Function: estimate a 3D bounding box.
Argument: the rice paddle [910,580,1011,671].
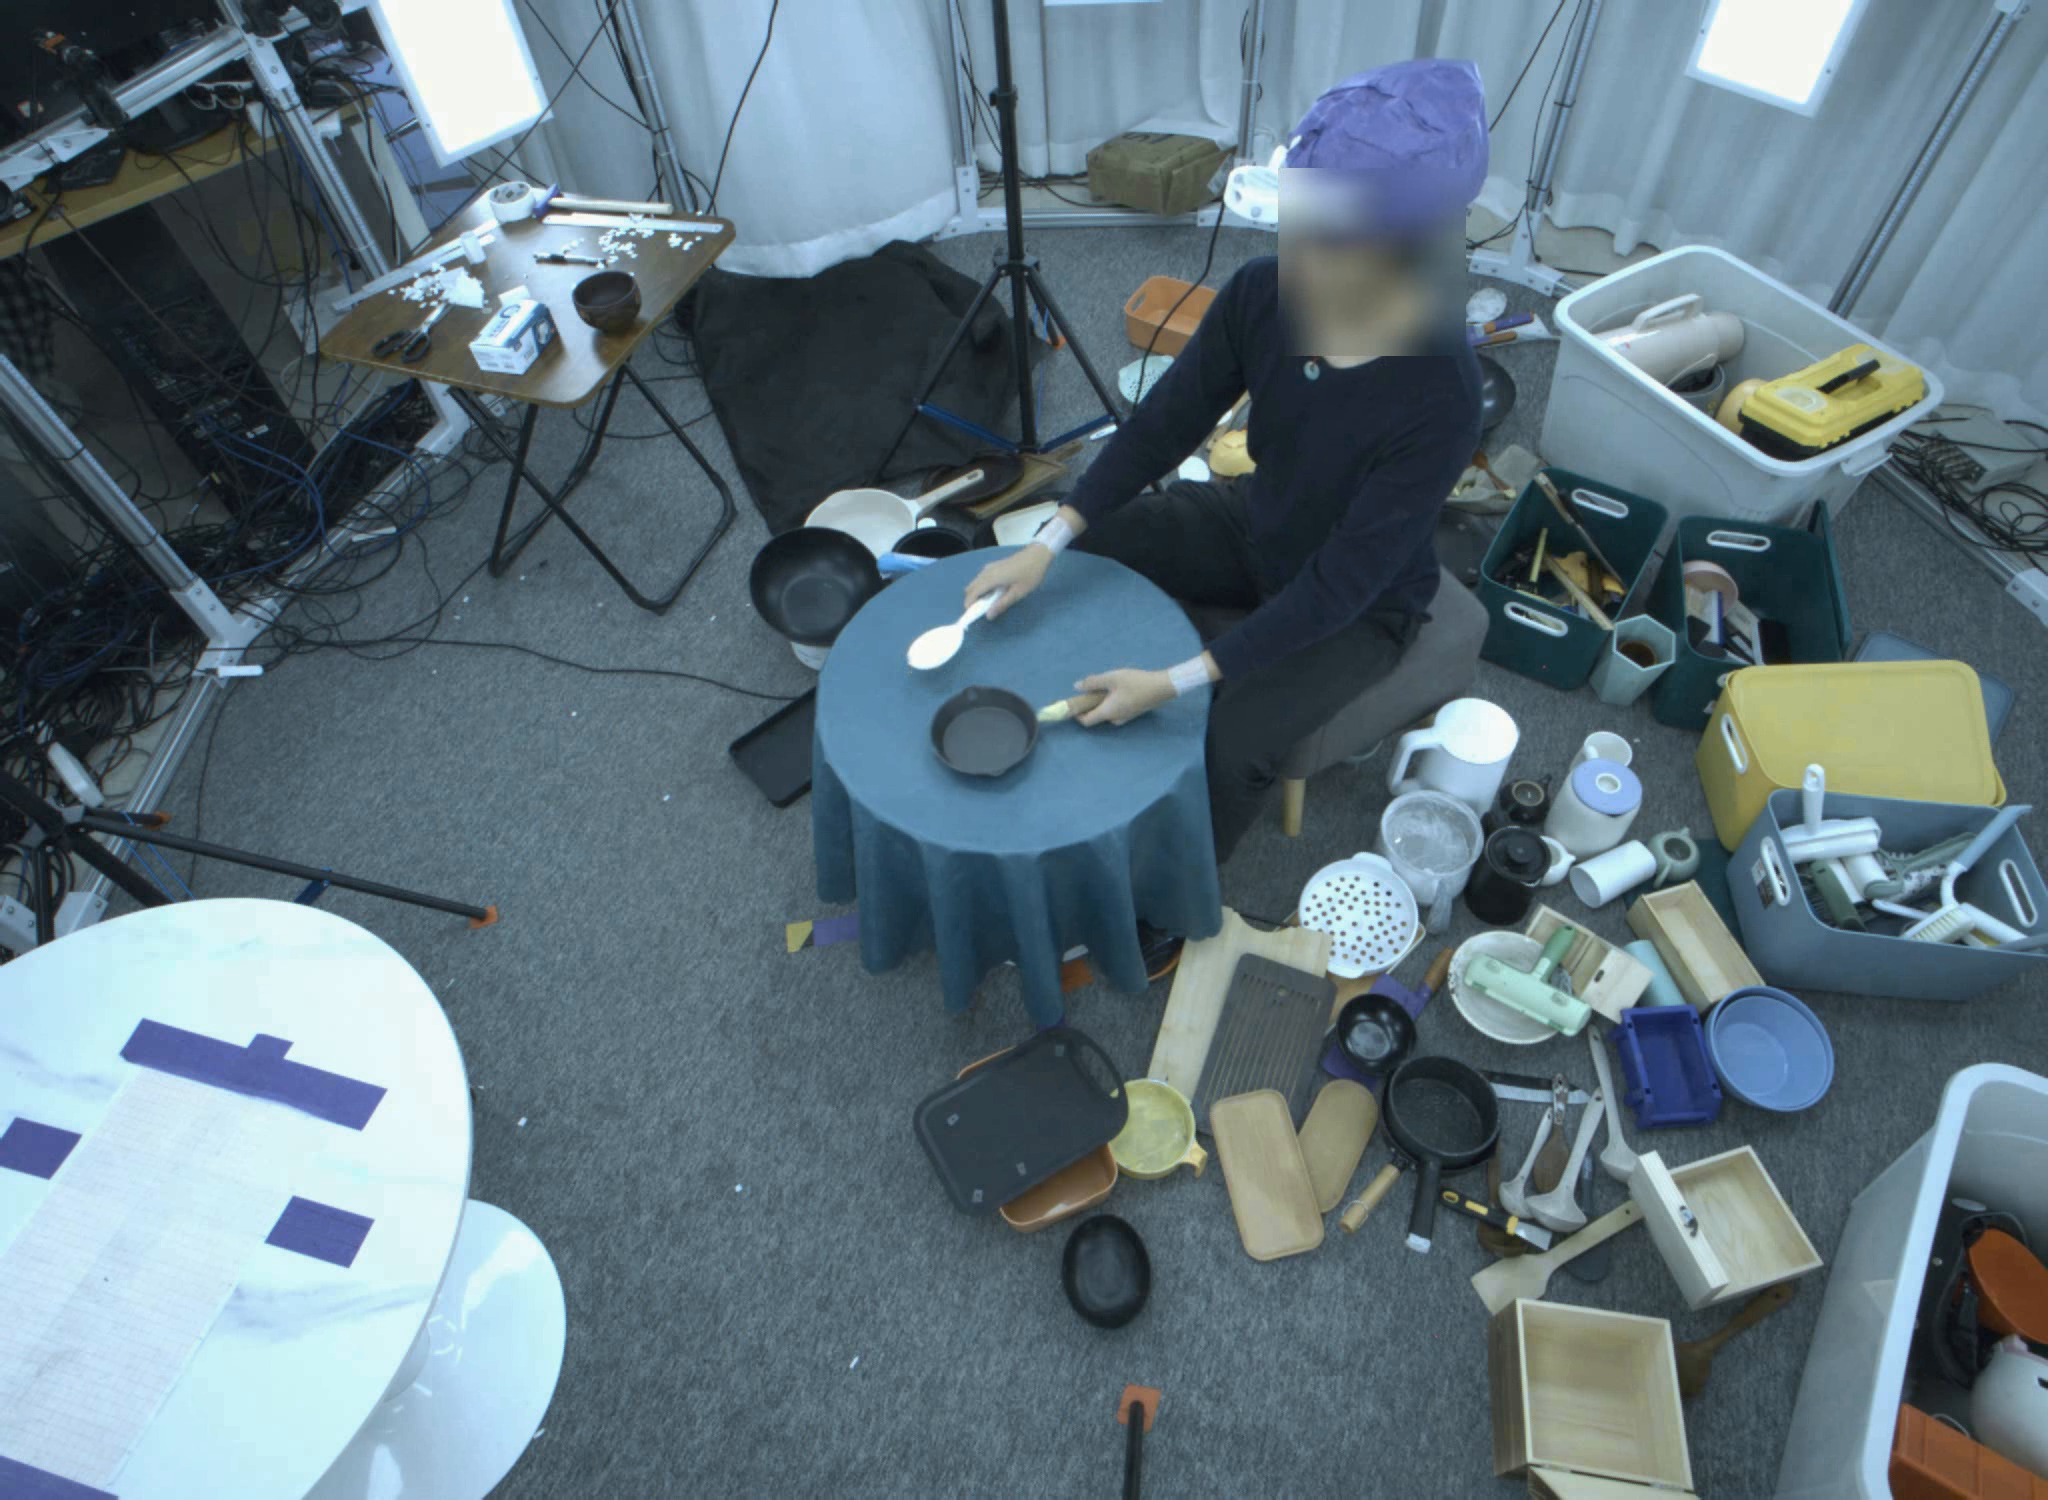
[{"bbox_3d":[-0.097,-0.189,1.870,0.067,0.030,0.206,30,60,27],"label":"rice paddle"}]

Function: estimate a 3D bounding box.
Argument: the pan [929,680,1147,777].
[{"bbox_3d":[0.023,-0.046,1.788,0.325,0.050,0.166,-14,55,-5],"label":"pan"}]
